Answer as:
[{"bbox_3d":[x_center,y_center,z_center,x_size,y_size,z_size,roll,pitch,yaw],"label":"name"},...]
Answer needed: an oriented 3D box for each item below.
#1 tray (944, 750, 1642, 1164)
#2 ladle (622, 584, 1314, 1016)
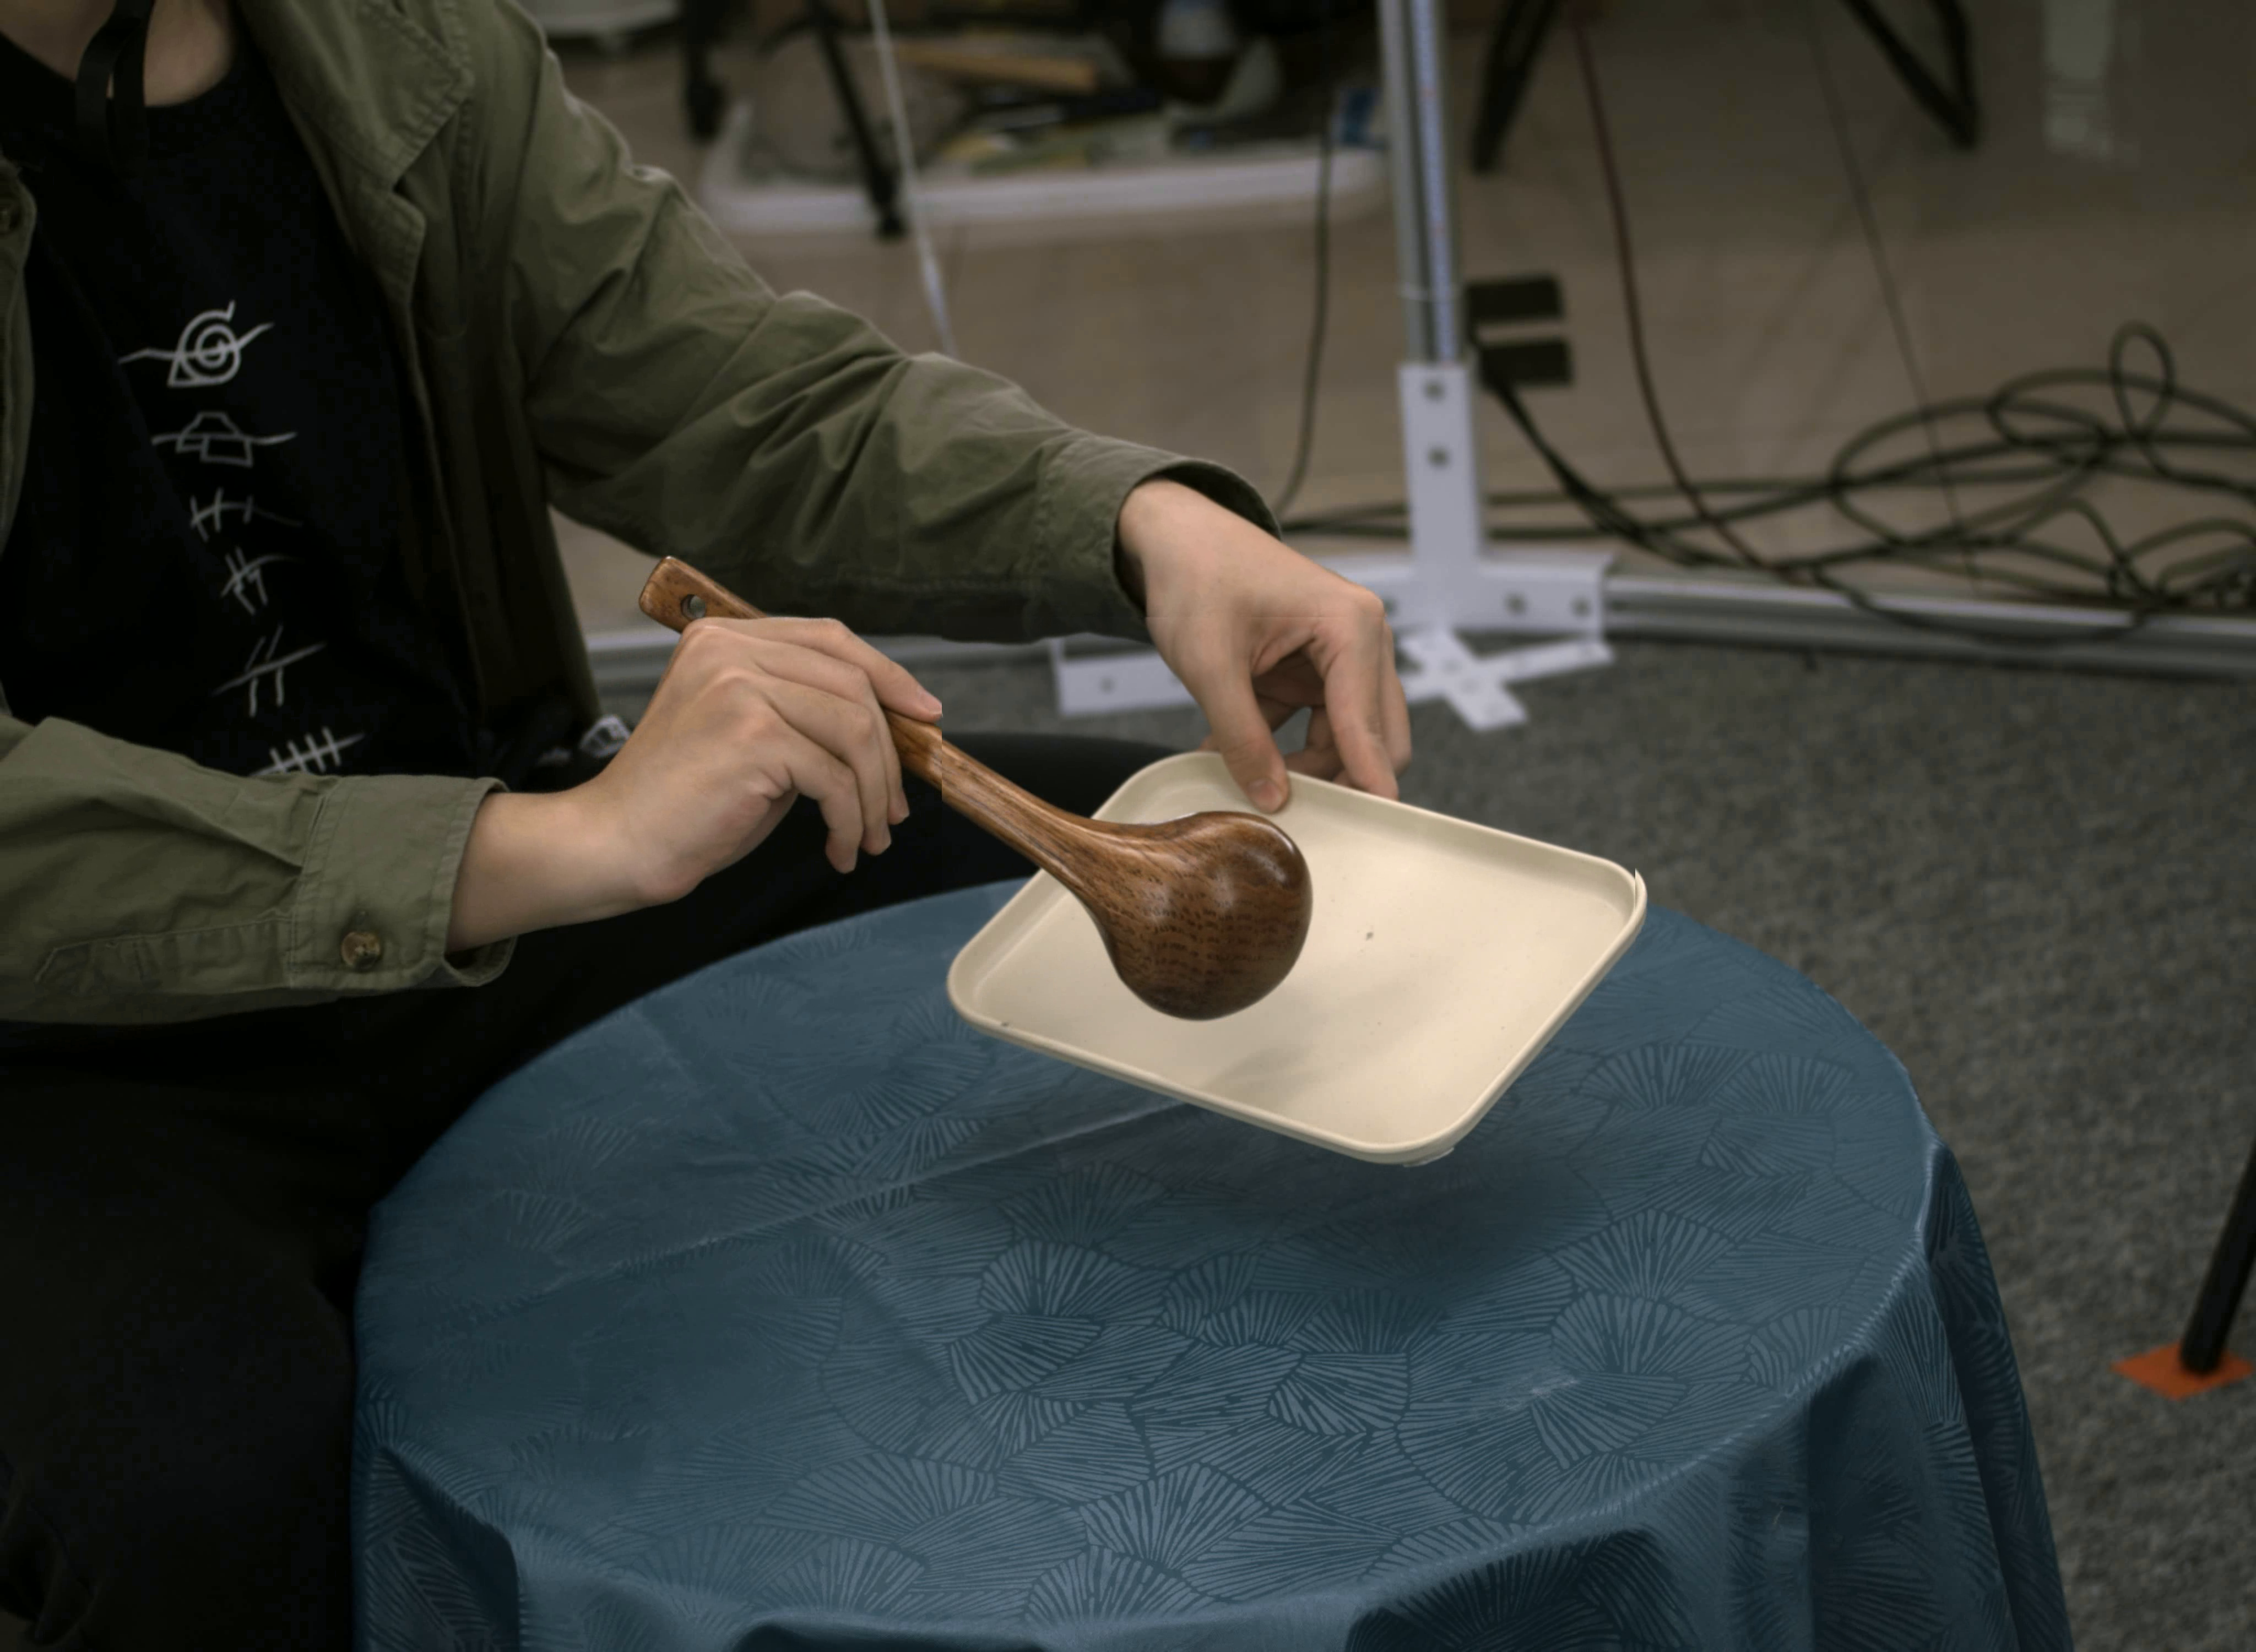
[{"bbox_3d":[0.062,0.048,2.128,0.238,0.018,0.169,17,49,35],"label":"tray"},{"bbox_3d":[-0.057,-0.019,2.082,0.272,0.082,0.077,29,5,14],"label":"ladle"}]
